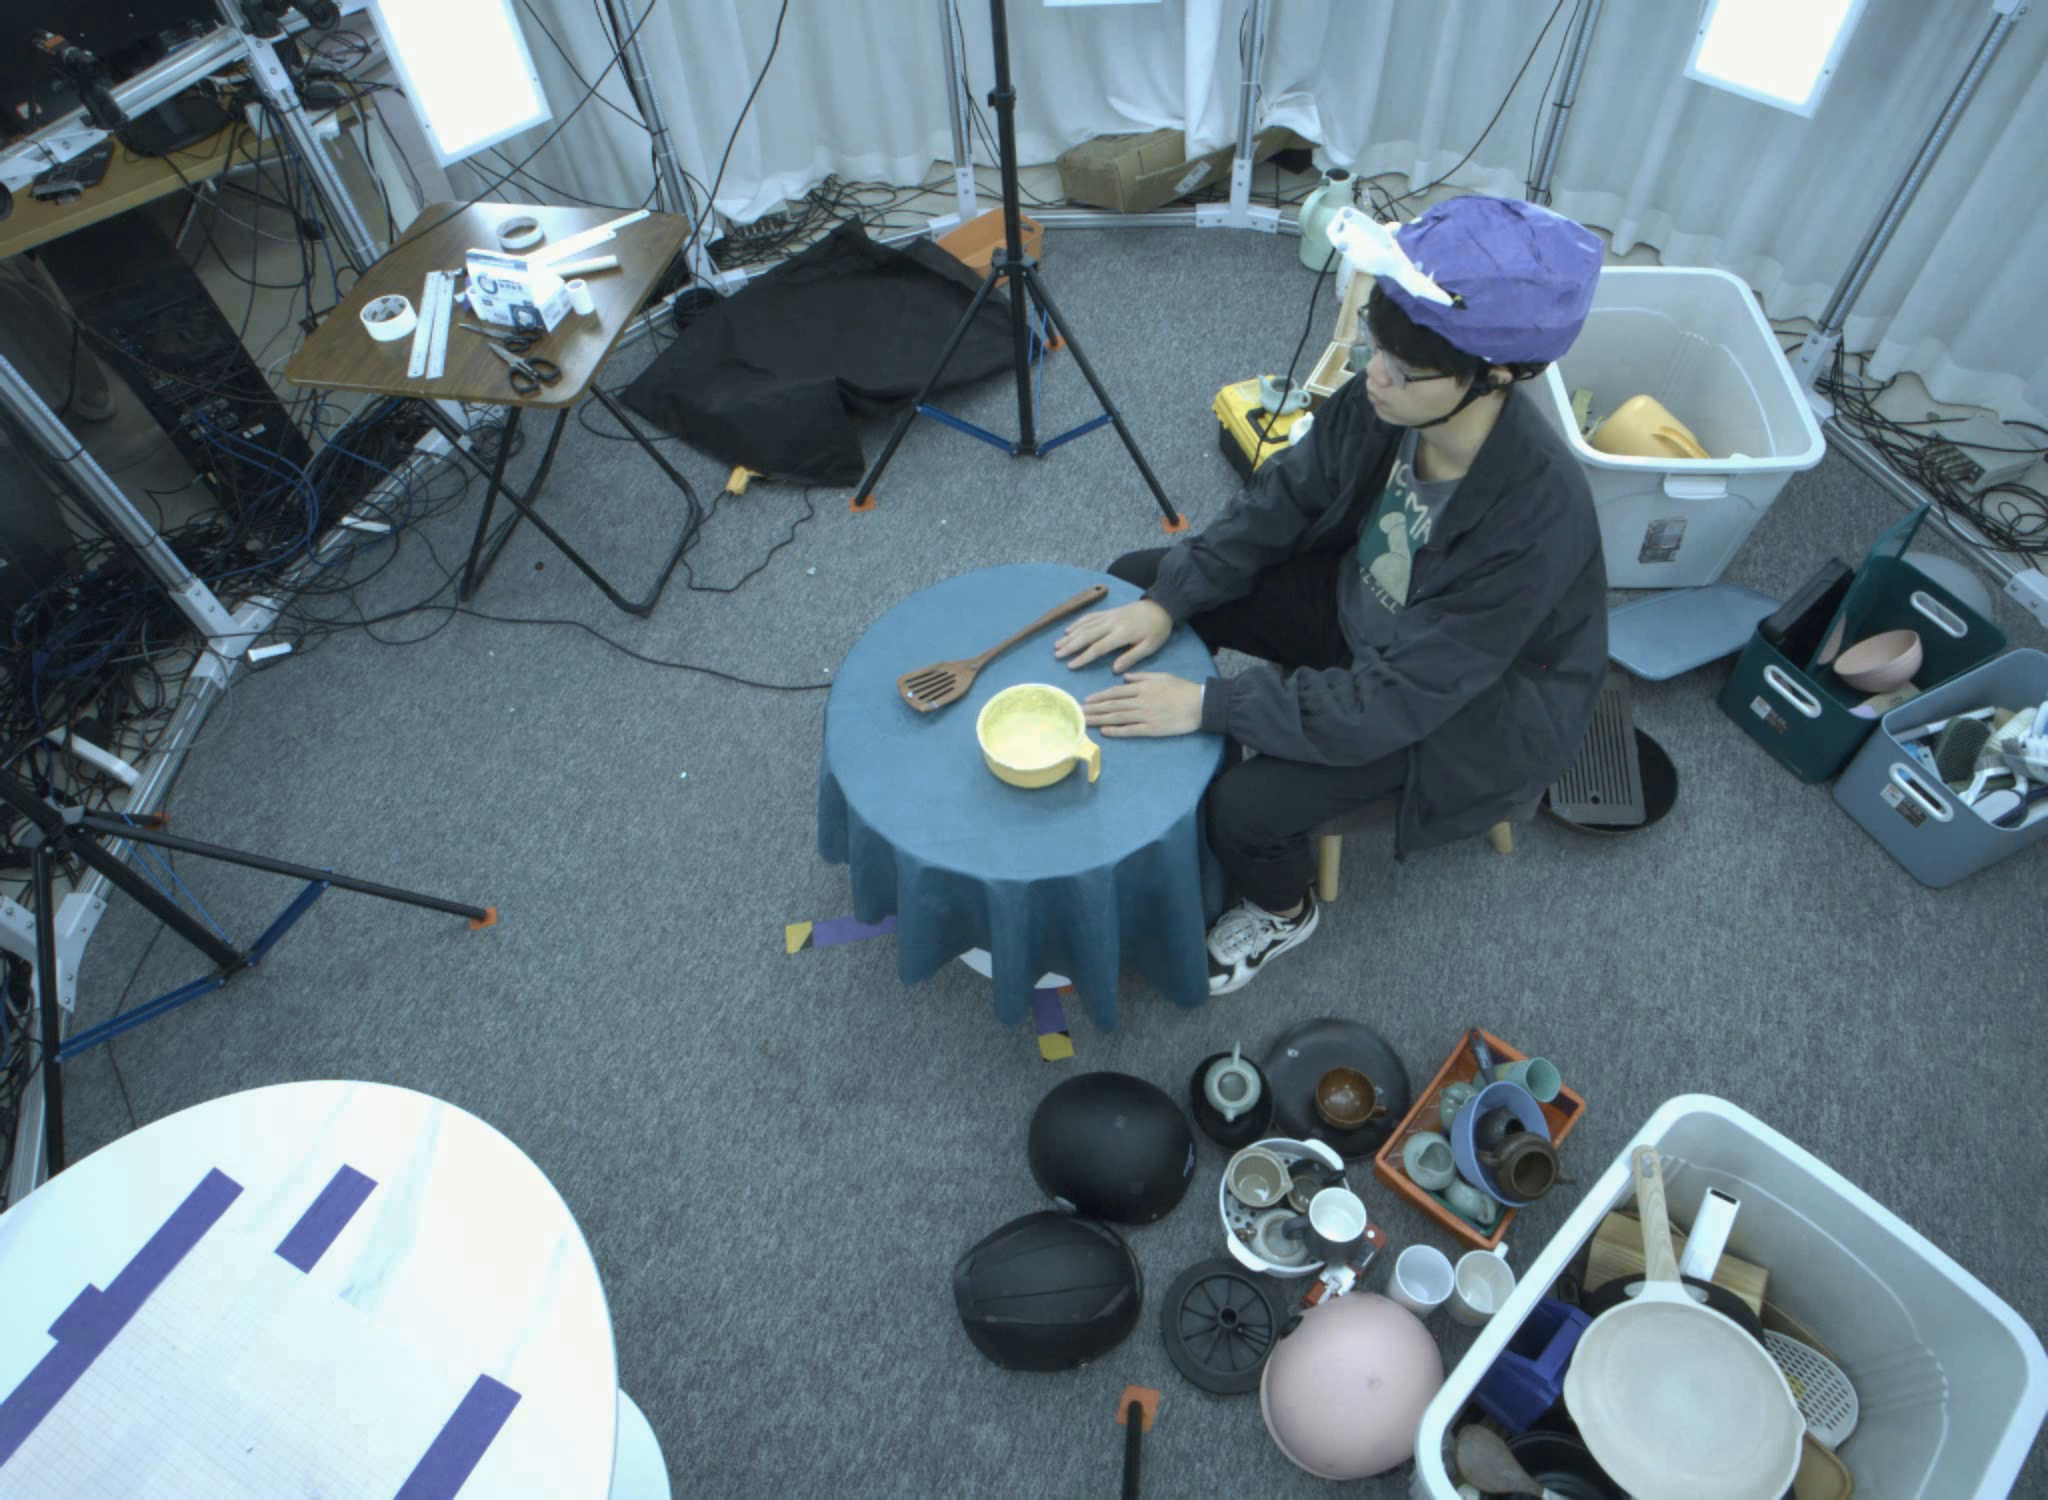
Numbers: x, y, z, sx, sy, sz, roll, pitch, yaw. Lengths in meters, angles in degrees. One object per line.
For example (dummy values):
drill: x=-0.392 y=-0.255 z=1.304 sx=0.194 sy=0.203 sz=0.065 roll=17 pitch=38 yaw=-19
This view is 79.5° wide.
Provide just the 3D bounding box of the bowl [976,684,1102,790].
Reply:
bowl: x=0.024 y=-0.008 z=1.745 sx=0.177 sy=0.075 sz=0.153 roll=18 pitch=58 yaw=14

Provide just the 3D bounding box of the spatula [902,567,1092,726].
spatula: x=-0.029 y=-0.169 z=1.897 sx=0.084 sy=0.024 sz=0.389 roll=41 pitch=67 yaw=17
